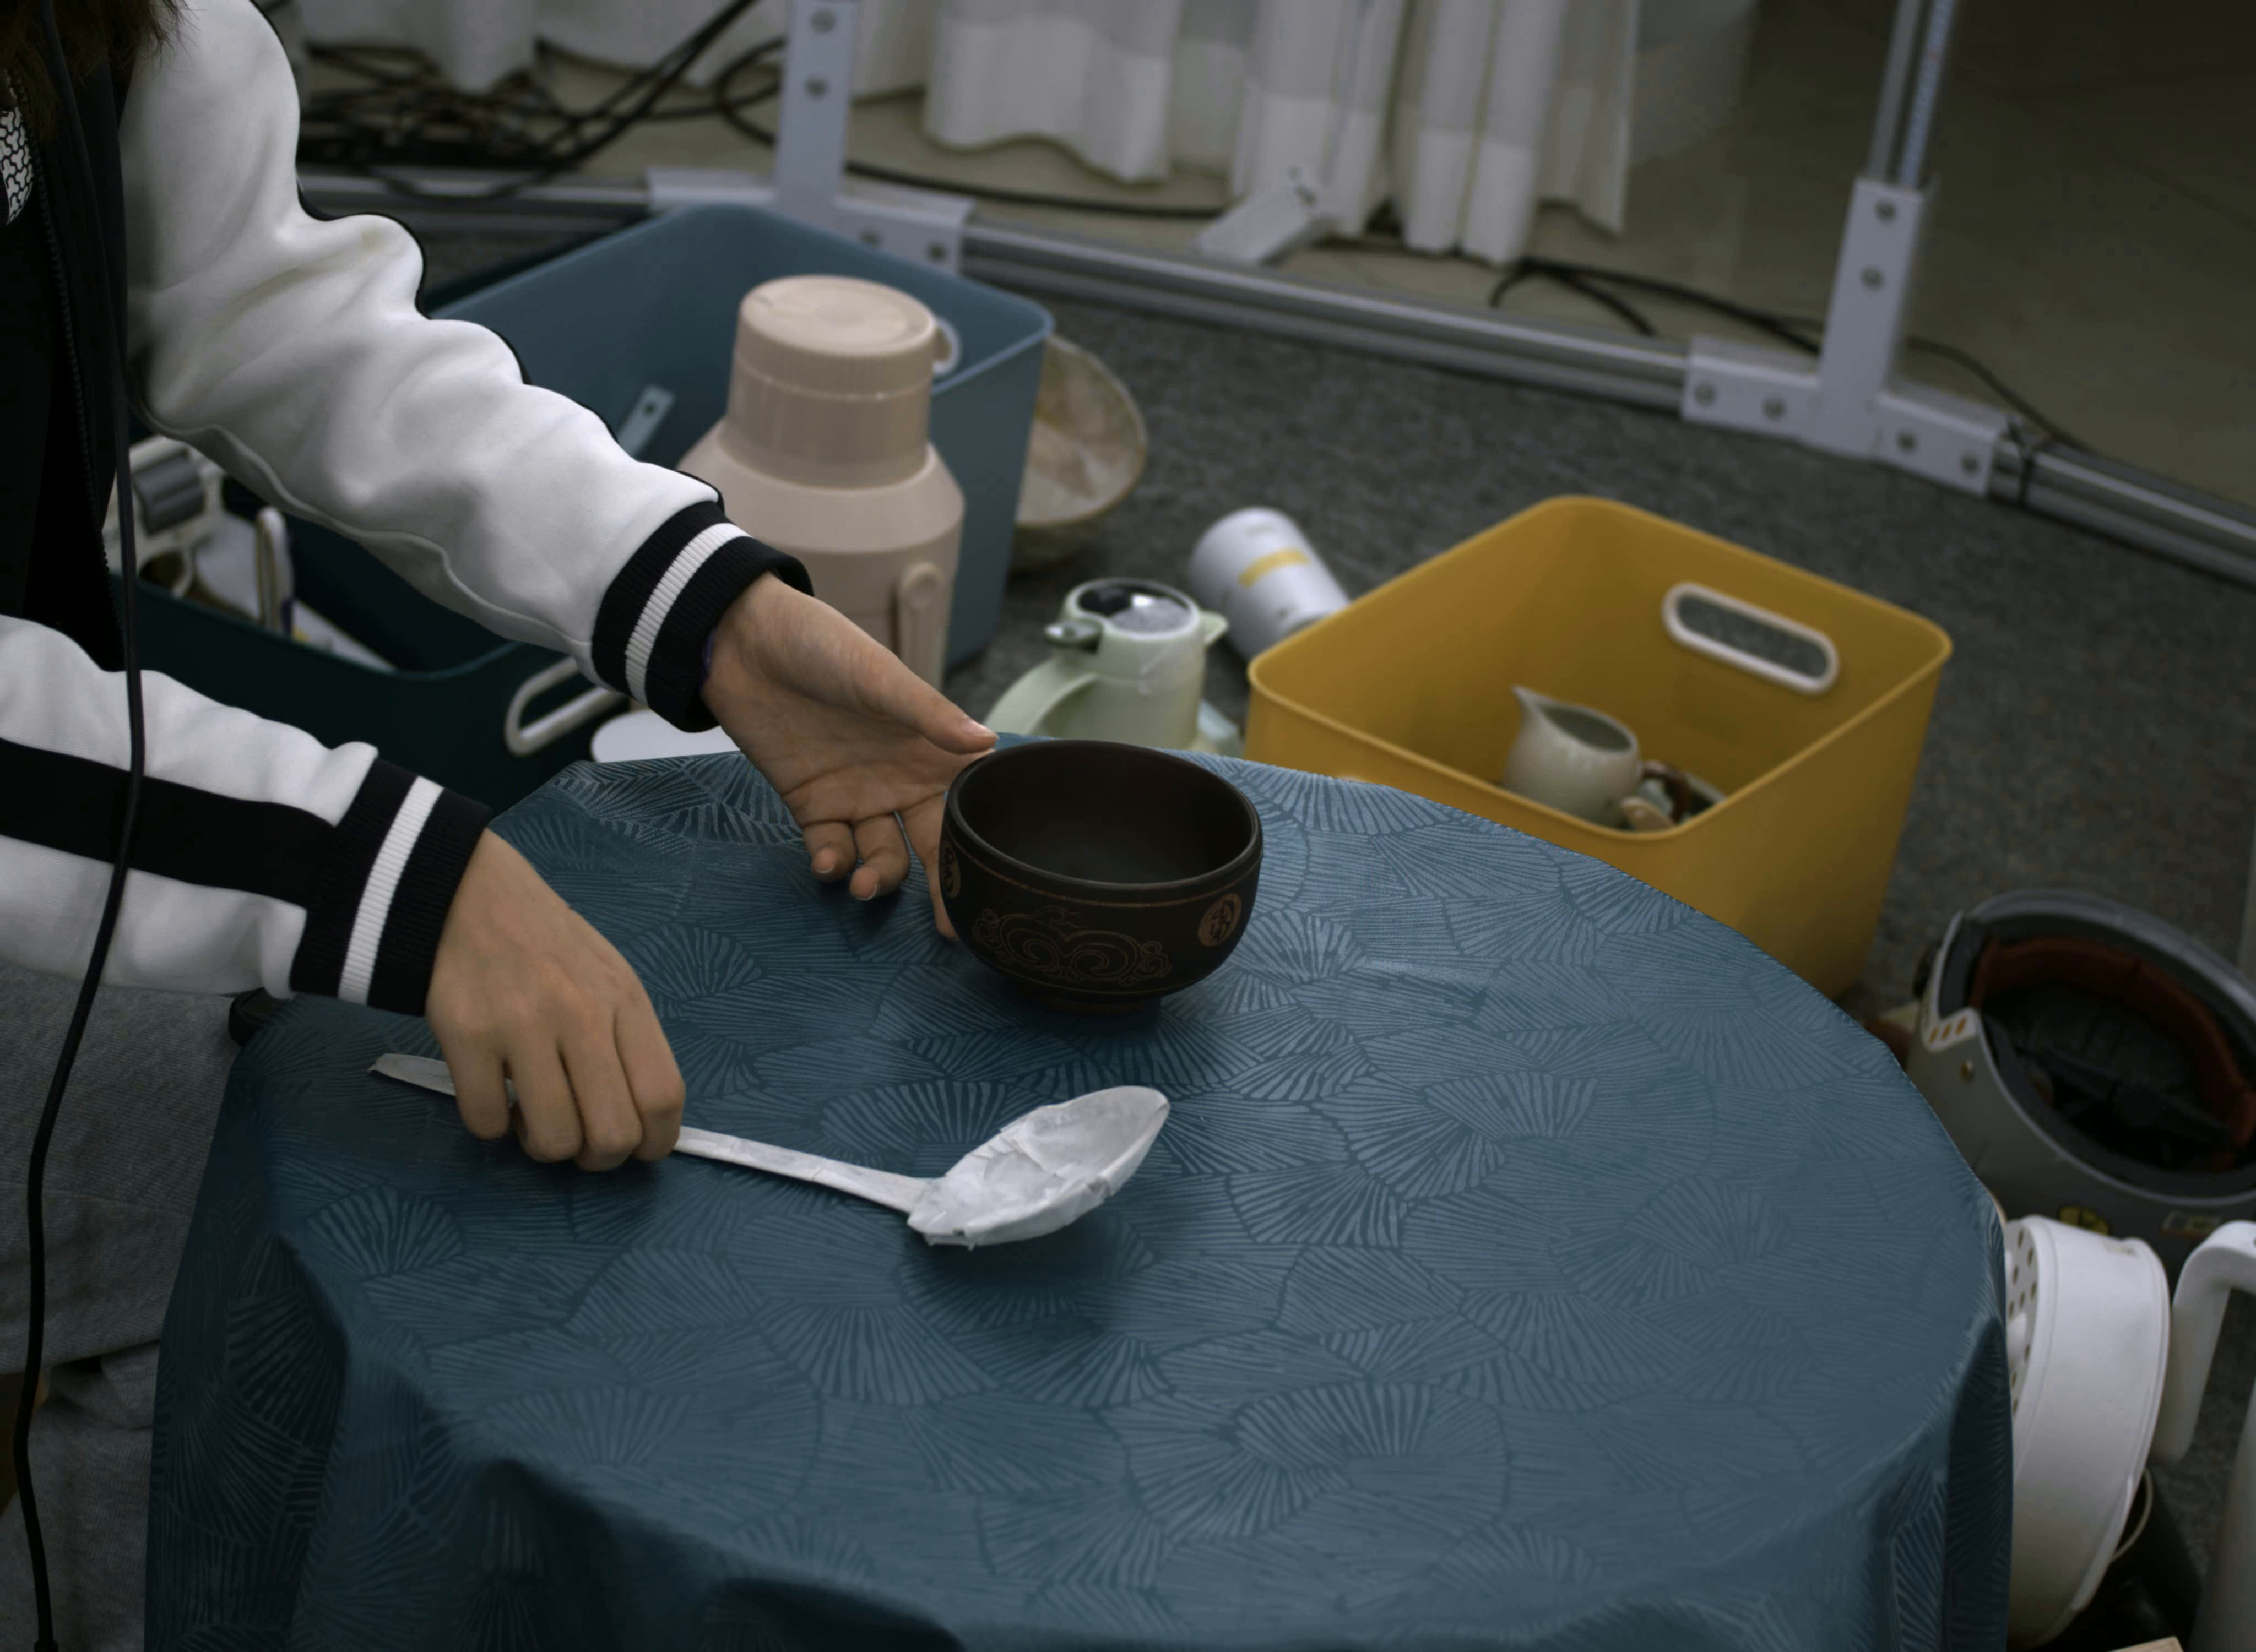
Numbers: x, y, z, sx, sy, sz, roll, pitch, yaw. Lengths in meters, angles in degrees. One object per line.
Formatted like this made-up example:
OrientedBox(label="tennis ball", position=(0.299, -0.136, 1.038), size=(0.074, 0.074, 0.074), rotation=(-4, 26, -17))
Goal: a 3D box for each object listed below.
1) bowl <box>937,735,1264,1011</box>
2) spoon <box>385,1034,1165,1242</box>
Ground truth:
OrientedBox(label="bowl", position=(-0.012, 0.023, 1.916), size=(0.117, 0.069, 0.119), rotation=(5, 26, -3))
OrientedBox(label="spoon", position=(-0.121, 0.085, 1.787), size=(0.278, 0.059, 0.101), rotation=(15, 25, 16))
